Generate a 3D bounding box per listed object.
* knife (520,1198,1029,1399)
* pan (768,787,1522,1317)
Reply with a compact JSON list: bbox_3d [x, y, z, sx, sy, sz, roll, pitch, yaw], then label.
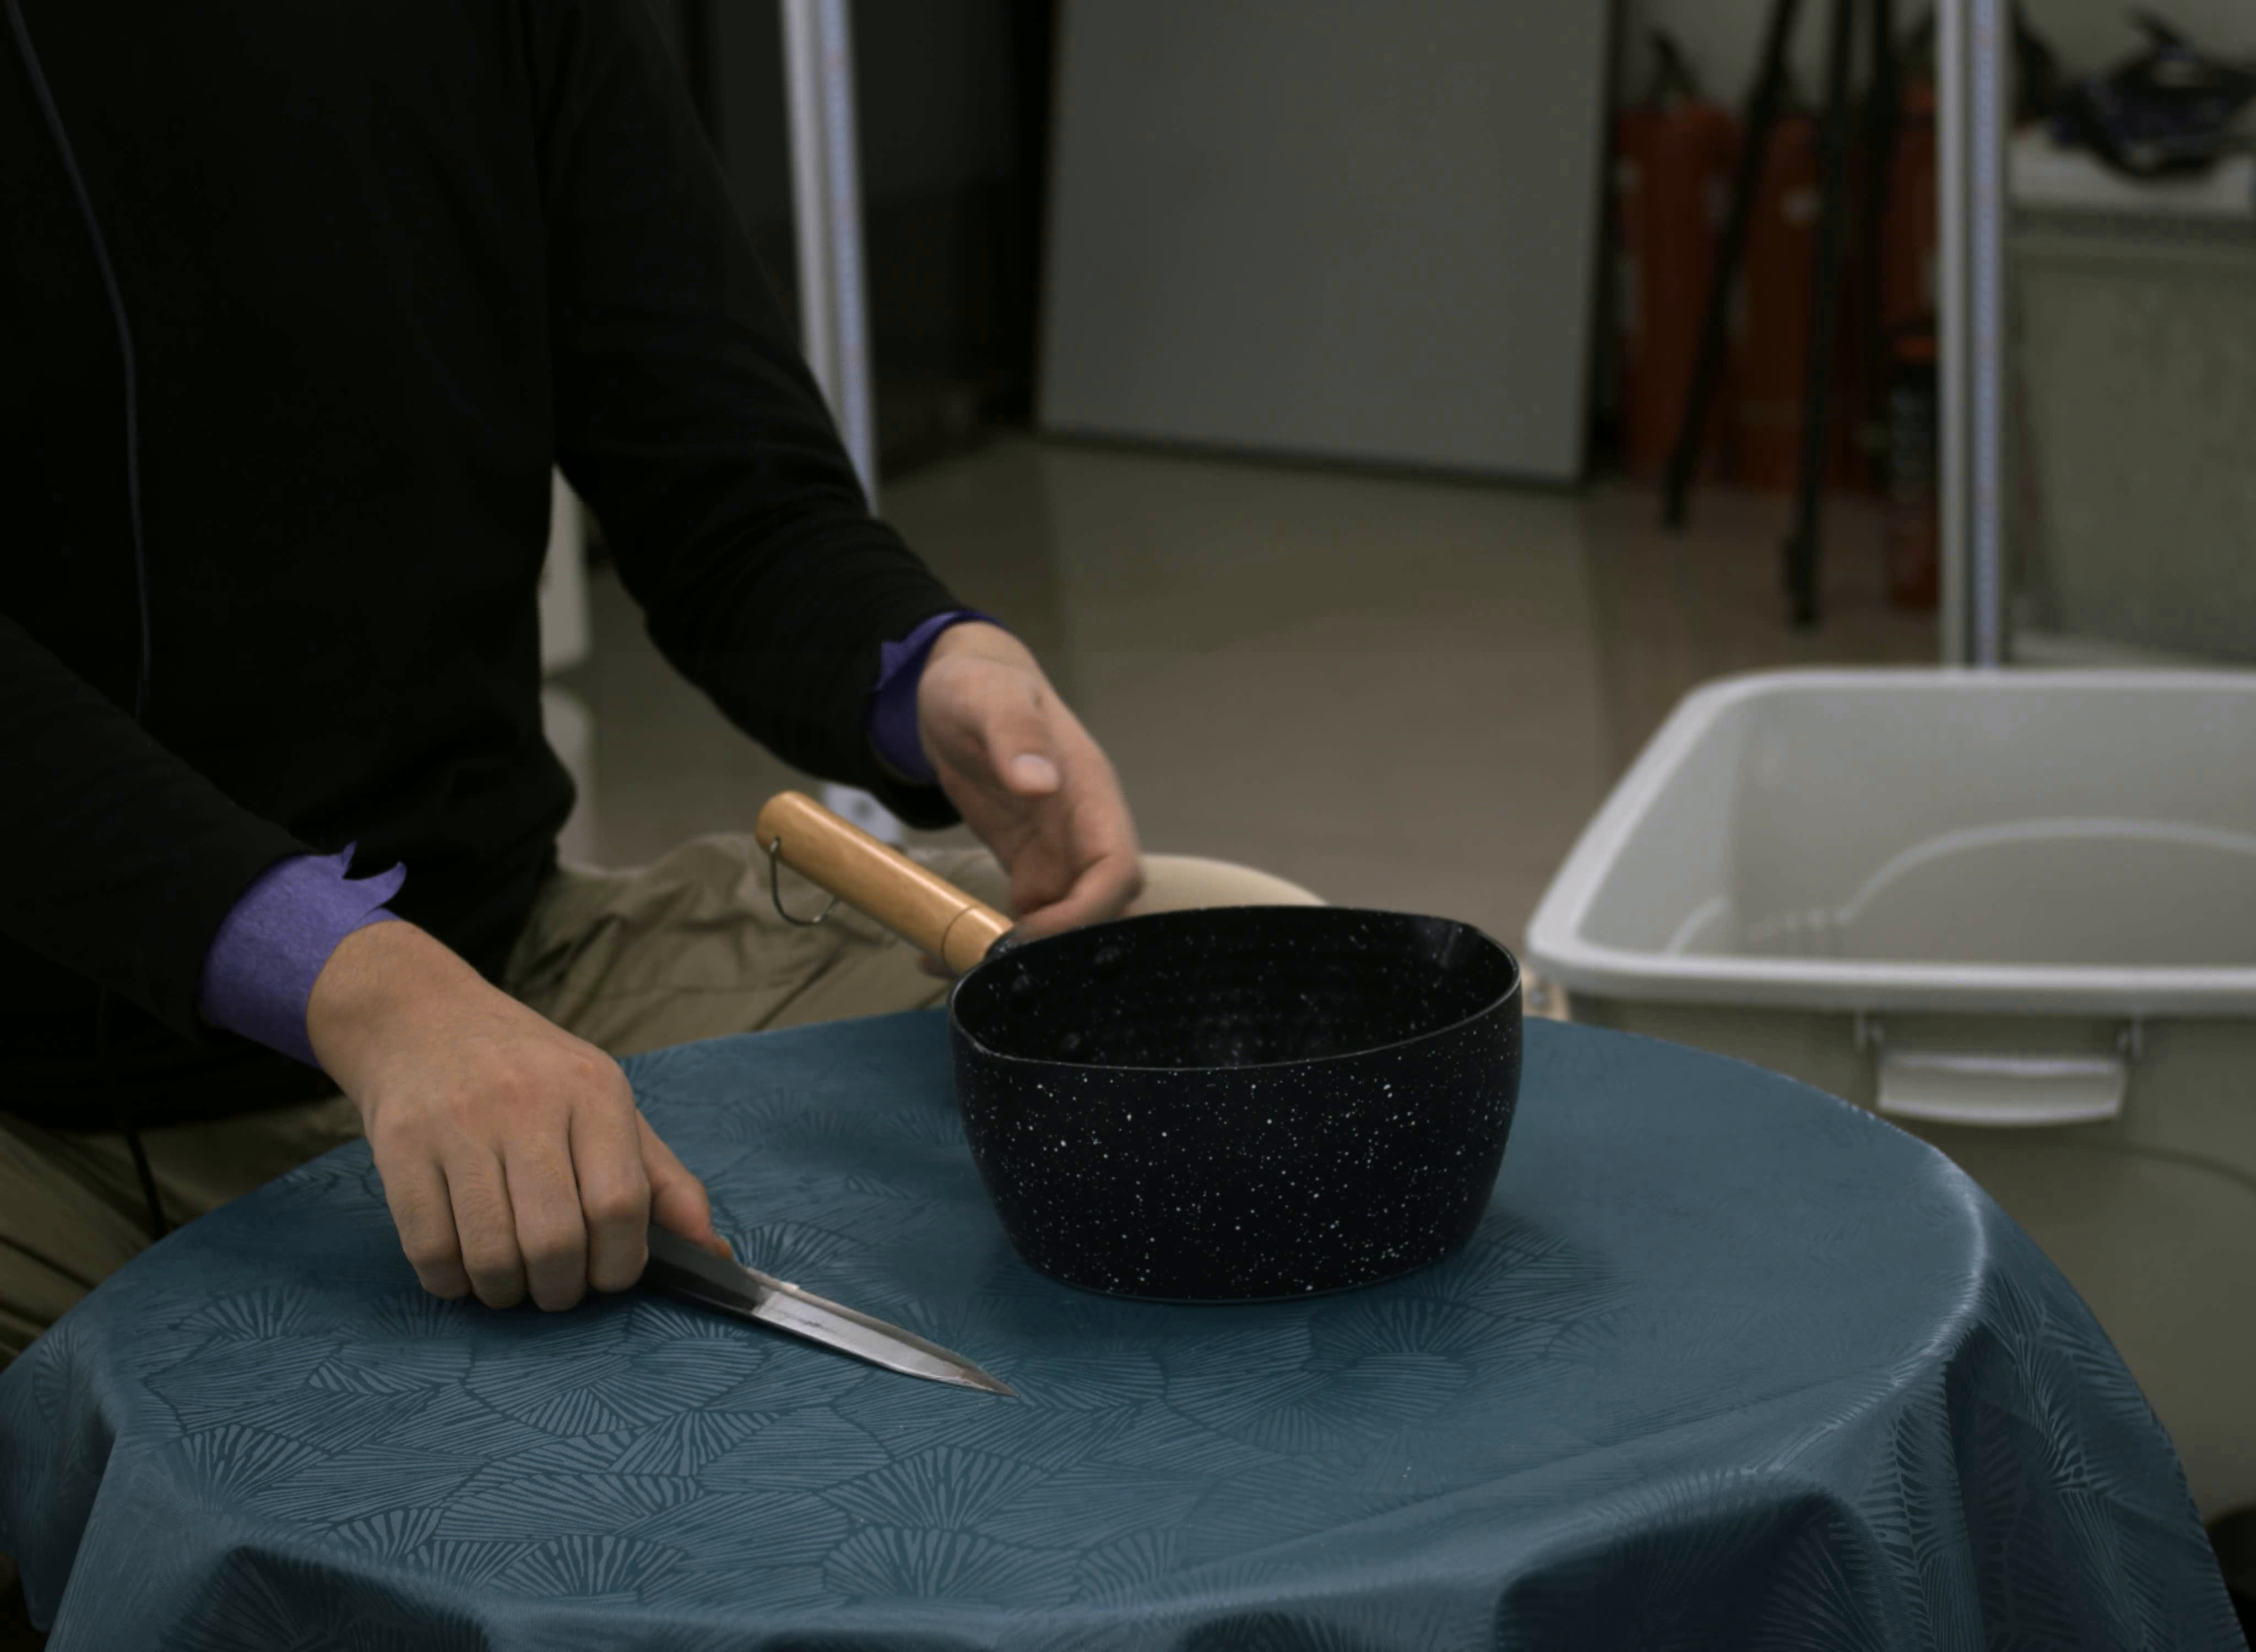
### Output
[{"bbox_3d":[-0.114,0.149,1.676,0.024,0.016,0.240,-19,23,-40],"label":"knife"},{"bbox_3d":[-0.015,0.067,1.775,0.203,0.109,0.346,-15,19,-36],"label":"pan"}]
